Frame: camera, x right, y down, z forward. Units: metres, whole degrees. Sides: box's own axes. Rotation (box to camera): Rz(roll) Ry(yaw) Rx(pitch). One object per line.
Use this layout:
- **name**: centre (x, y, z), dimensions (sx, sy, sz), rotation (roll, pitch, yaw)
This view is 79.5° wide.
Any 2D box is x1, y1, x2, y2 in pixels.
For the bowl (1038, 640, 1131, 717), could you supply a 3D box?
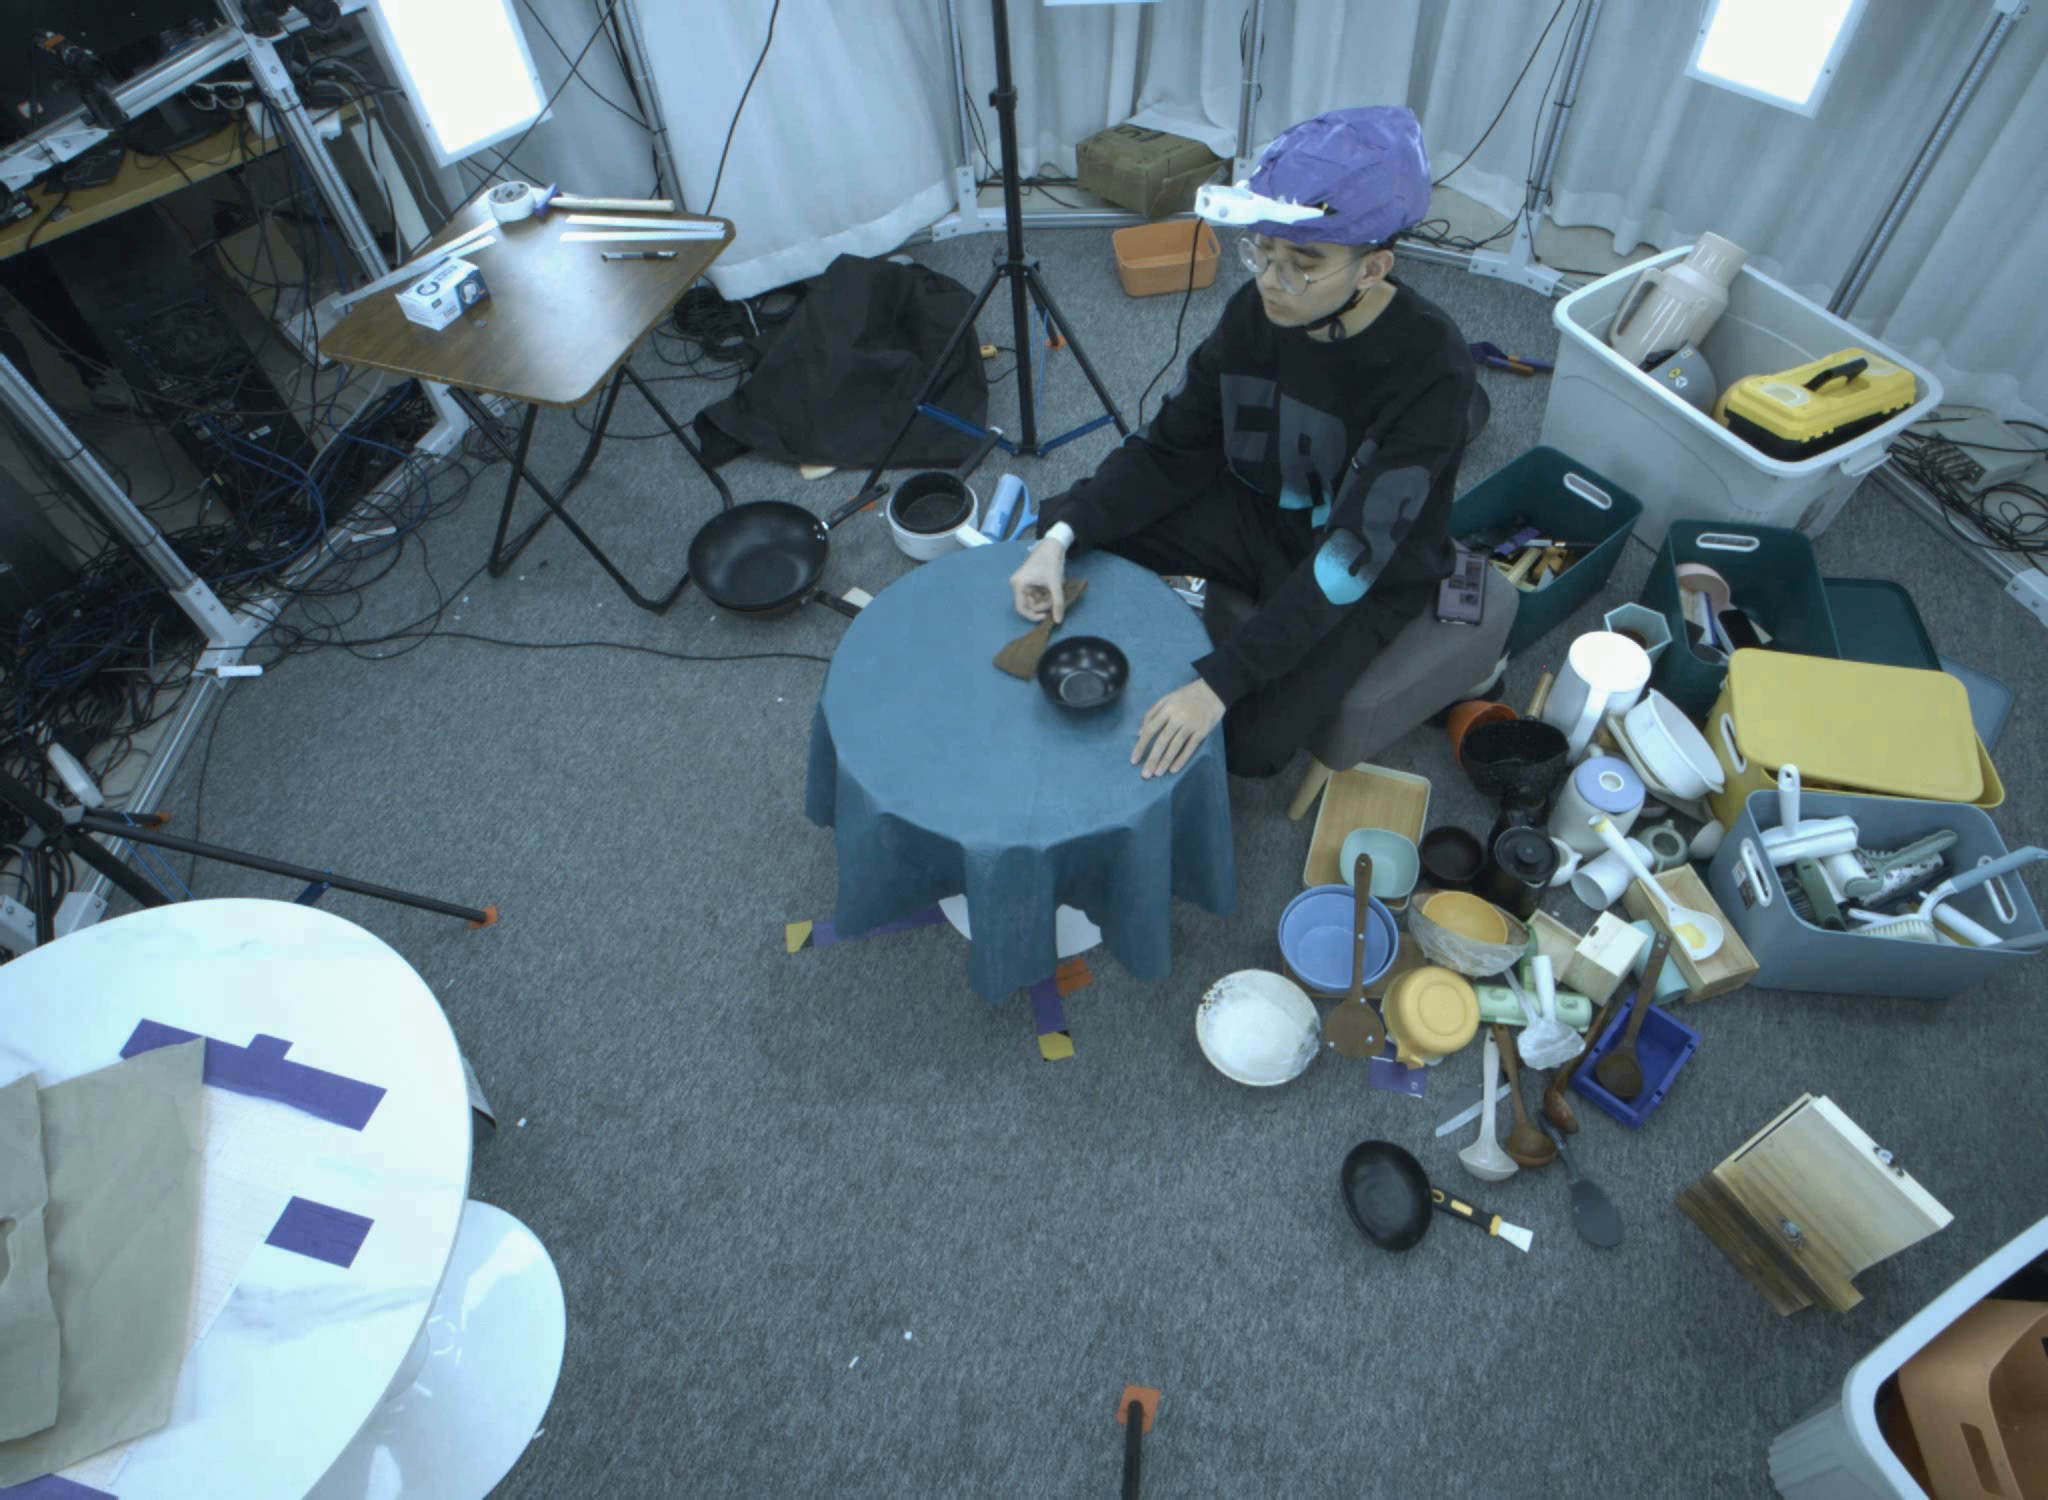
- **bowl**: centre (0.091, -0.097, 1.834), dimensions (0.140, 0.050, 0.138), rotation (-1, 52, 3)

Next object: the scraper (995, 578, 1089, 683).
- **scraper**: centre (0.037, -0.190, 1.915), dimensions (0.075, 0.011, 0.212), rotation (28, 67, 18)
